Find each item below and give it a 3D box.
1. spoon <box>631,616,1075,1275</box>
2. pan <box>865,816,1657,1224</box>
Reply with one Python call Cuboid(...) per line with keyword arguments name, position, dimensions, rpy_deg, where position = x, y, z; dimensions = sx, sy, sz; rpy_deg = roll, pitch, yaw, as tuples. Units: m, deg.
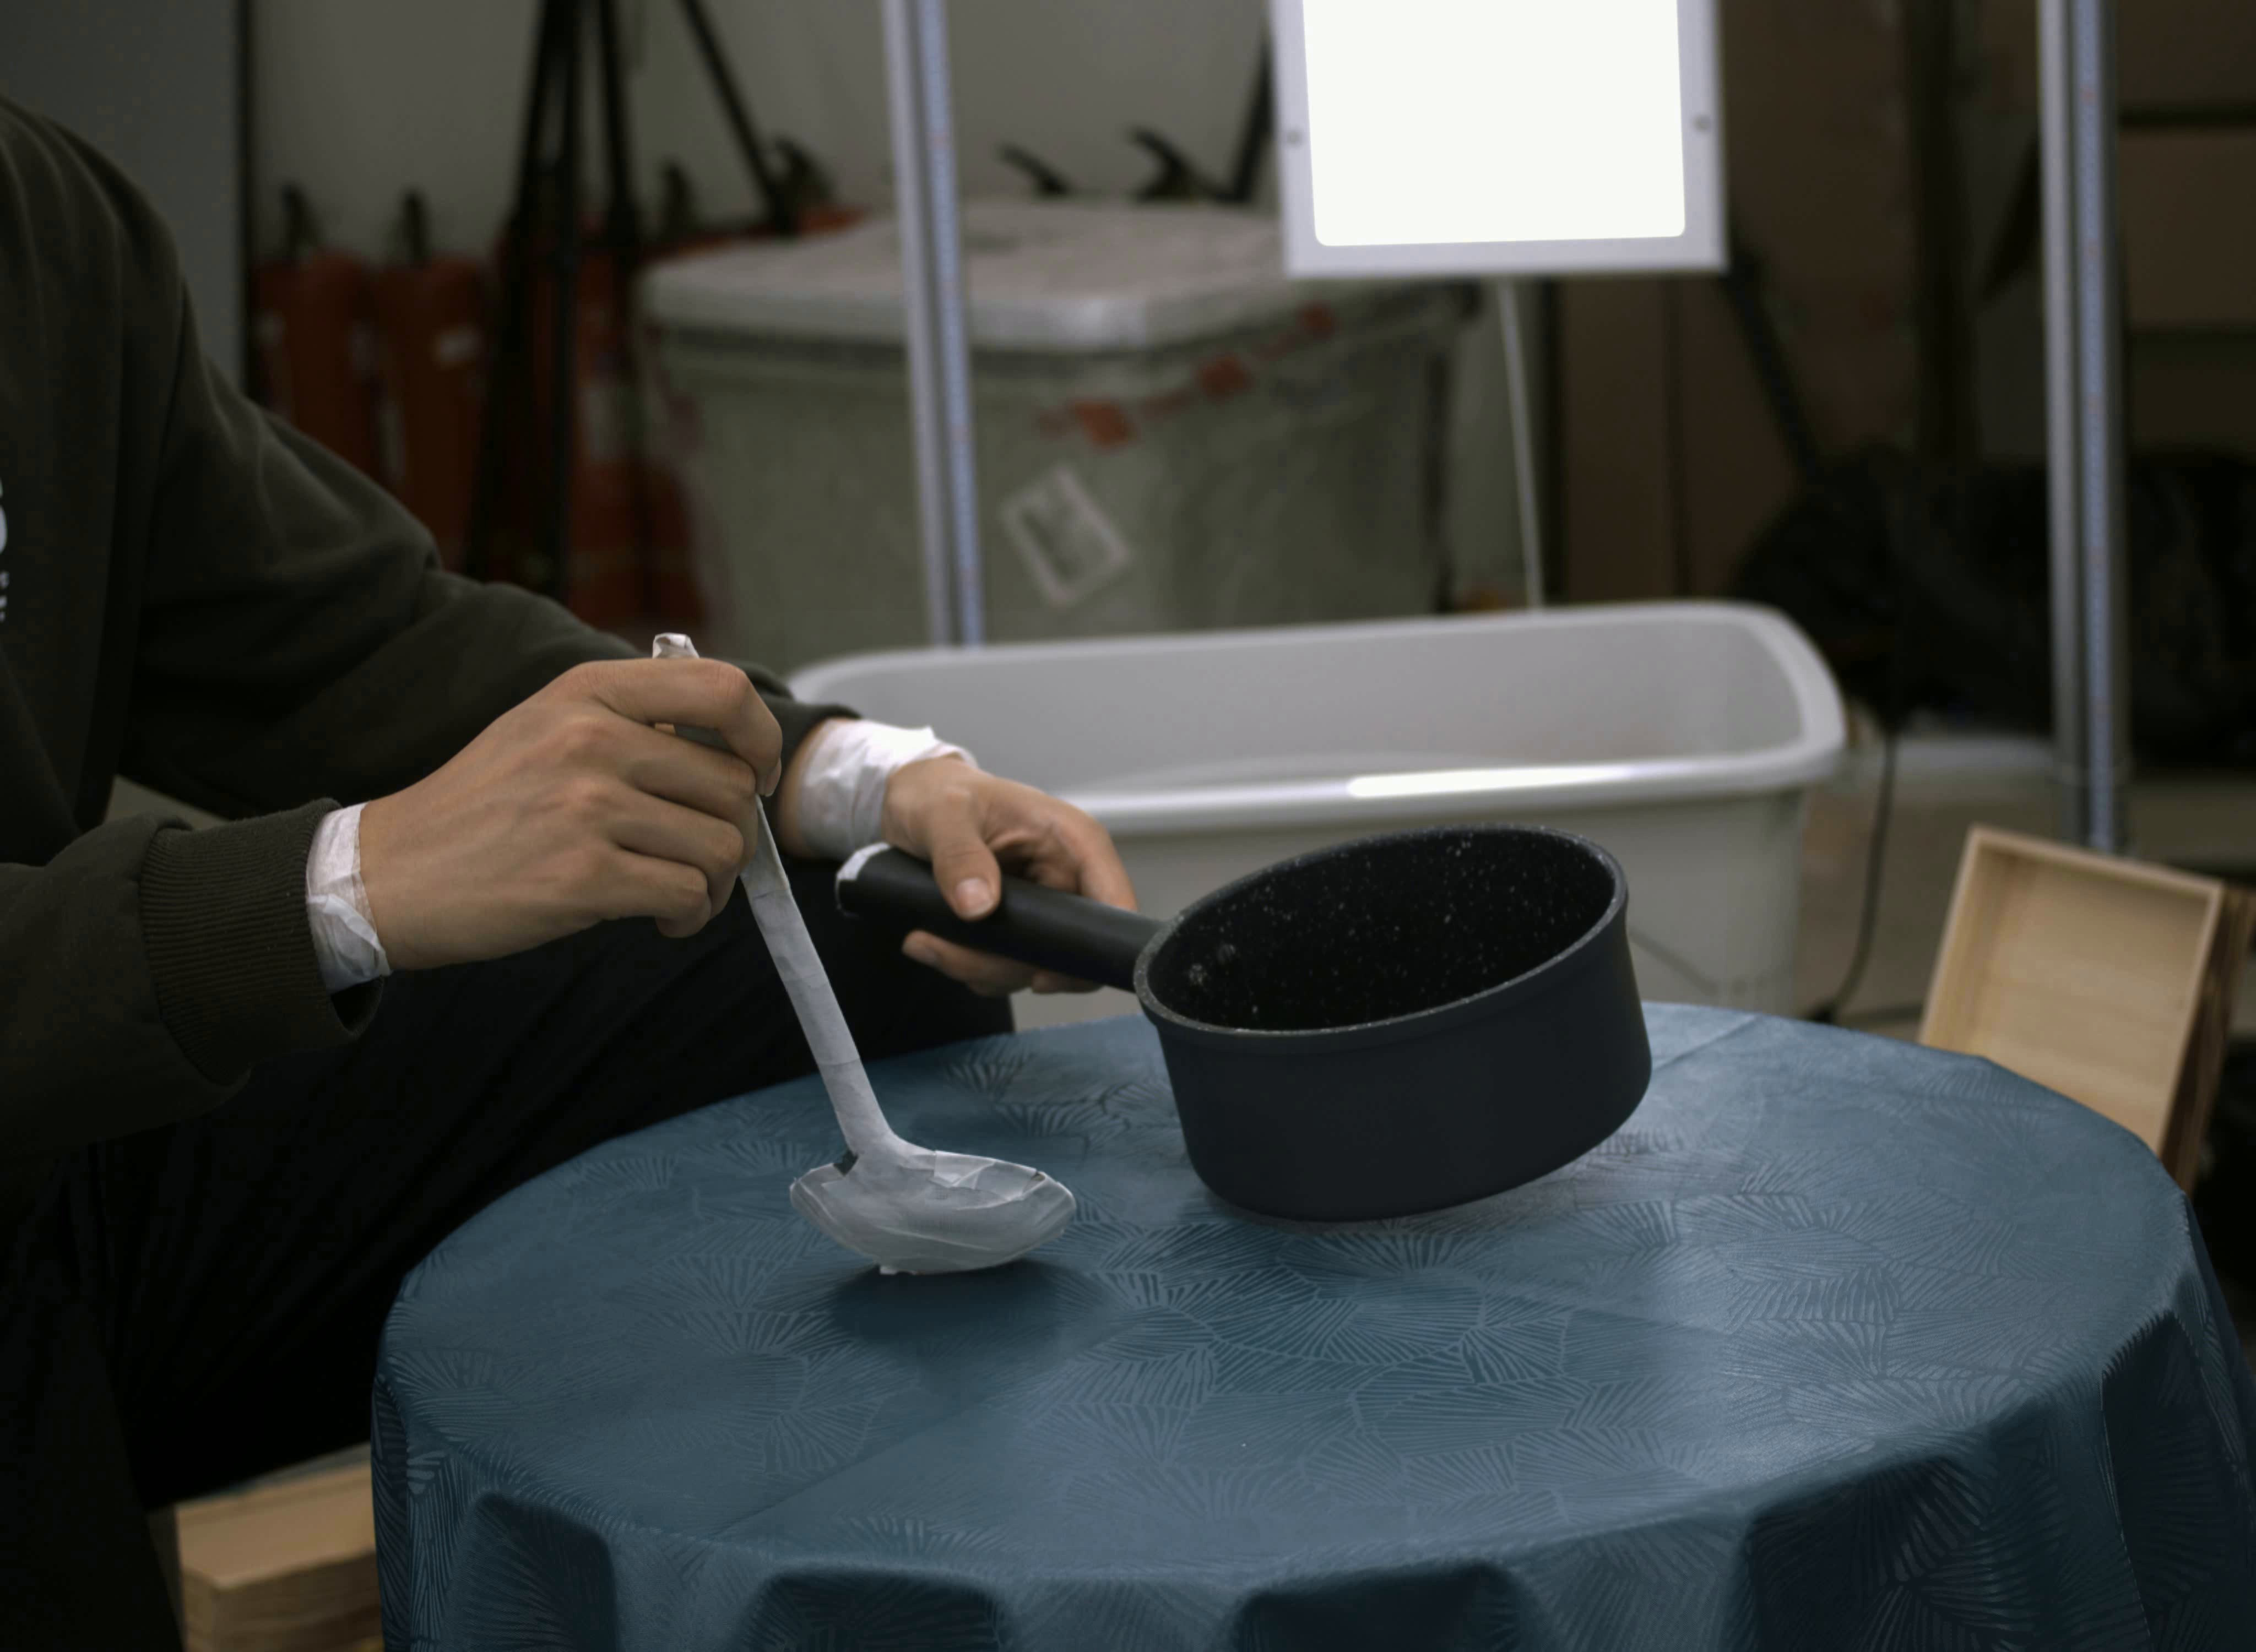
Cuboid(name="spoon", position=(-0.100, 0.041, 1.767), dimensions=(0.102, 0.277, 0.058), rpy_deg=(-10, 27, 23))
Cuboid(name="pan", position=(0.036, 0.058, 1.934), dimensions=(0.336, 0.086, 0.168), rpy_deg=(8, 29, 44))
